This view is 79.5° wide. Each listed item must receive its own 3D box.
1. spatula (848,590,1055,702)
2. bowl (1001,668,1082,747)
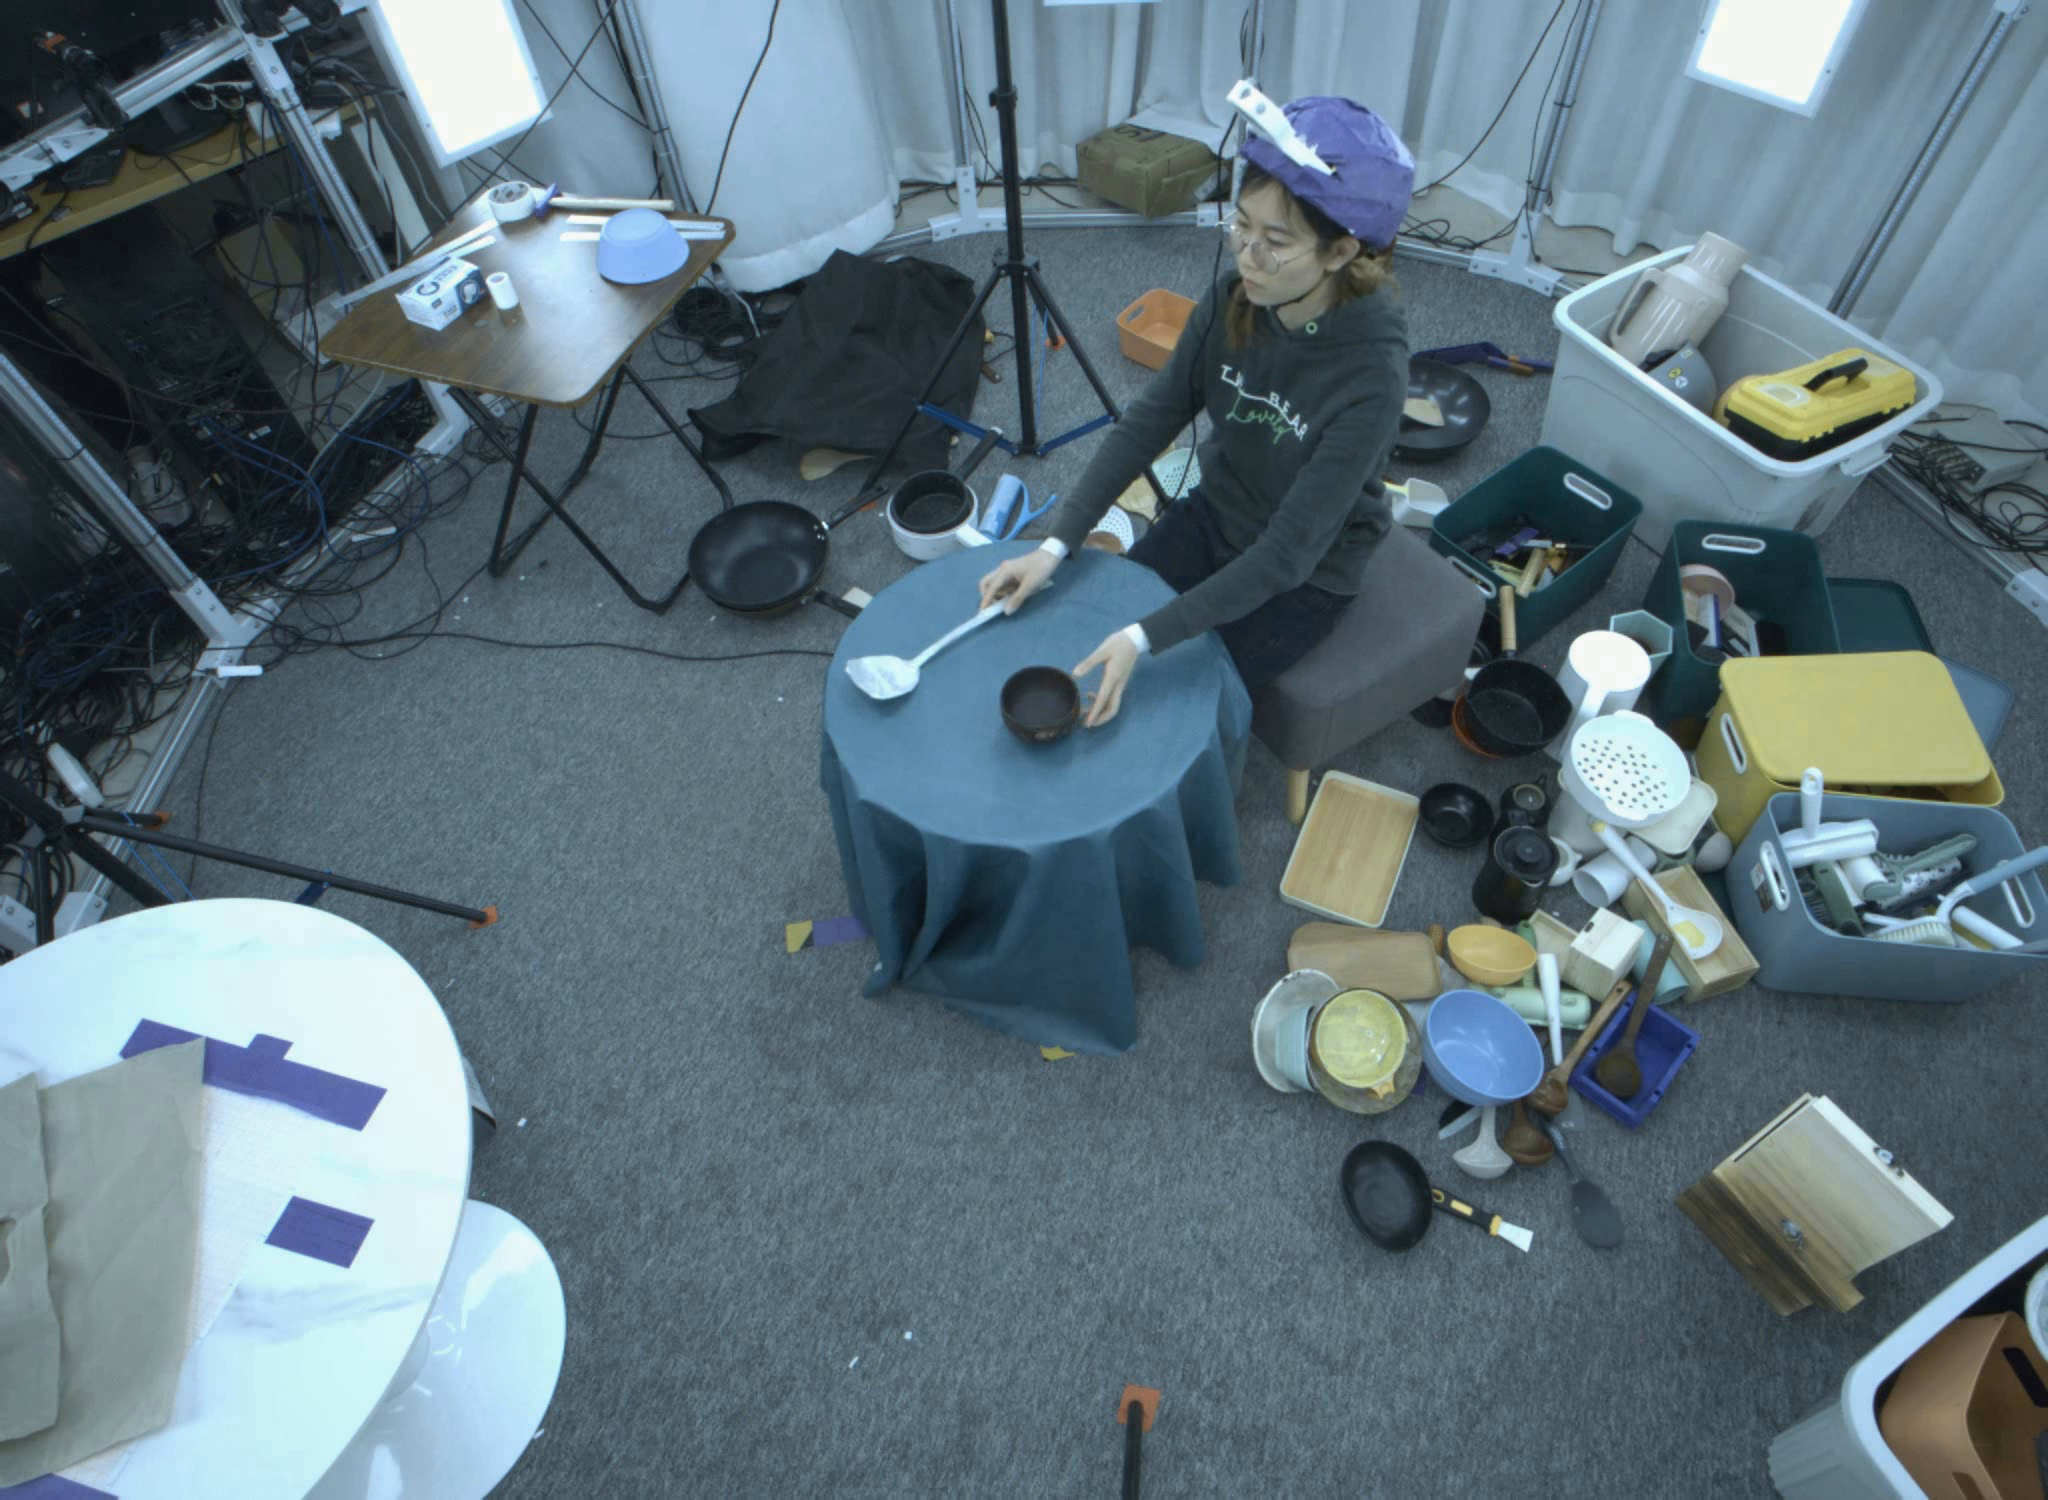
[{"bbox_3d":[-0.103,-0.176,1.901,0.368,0.045,0.097,-33,58,-20],"label":"spatula"},{"bbox_3d":[0.026,-0.054,1.791,0.118,0.070,0.117,0,56,1],"label":"bowl"}]
